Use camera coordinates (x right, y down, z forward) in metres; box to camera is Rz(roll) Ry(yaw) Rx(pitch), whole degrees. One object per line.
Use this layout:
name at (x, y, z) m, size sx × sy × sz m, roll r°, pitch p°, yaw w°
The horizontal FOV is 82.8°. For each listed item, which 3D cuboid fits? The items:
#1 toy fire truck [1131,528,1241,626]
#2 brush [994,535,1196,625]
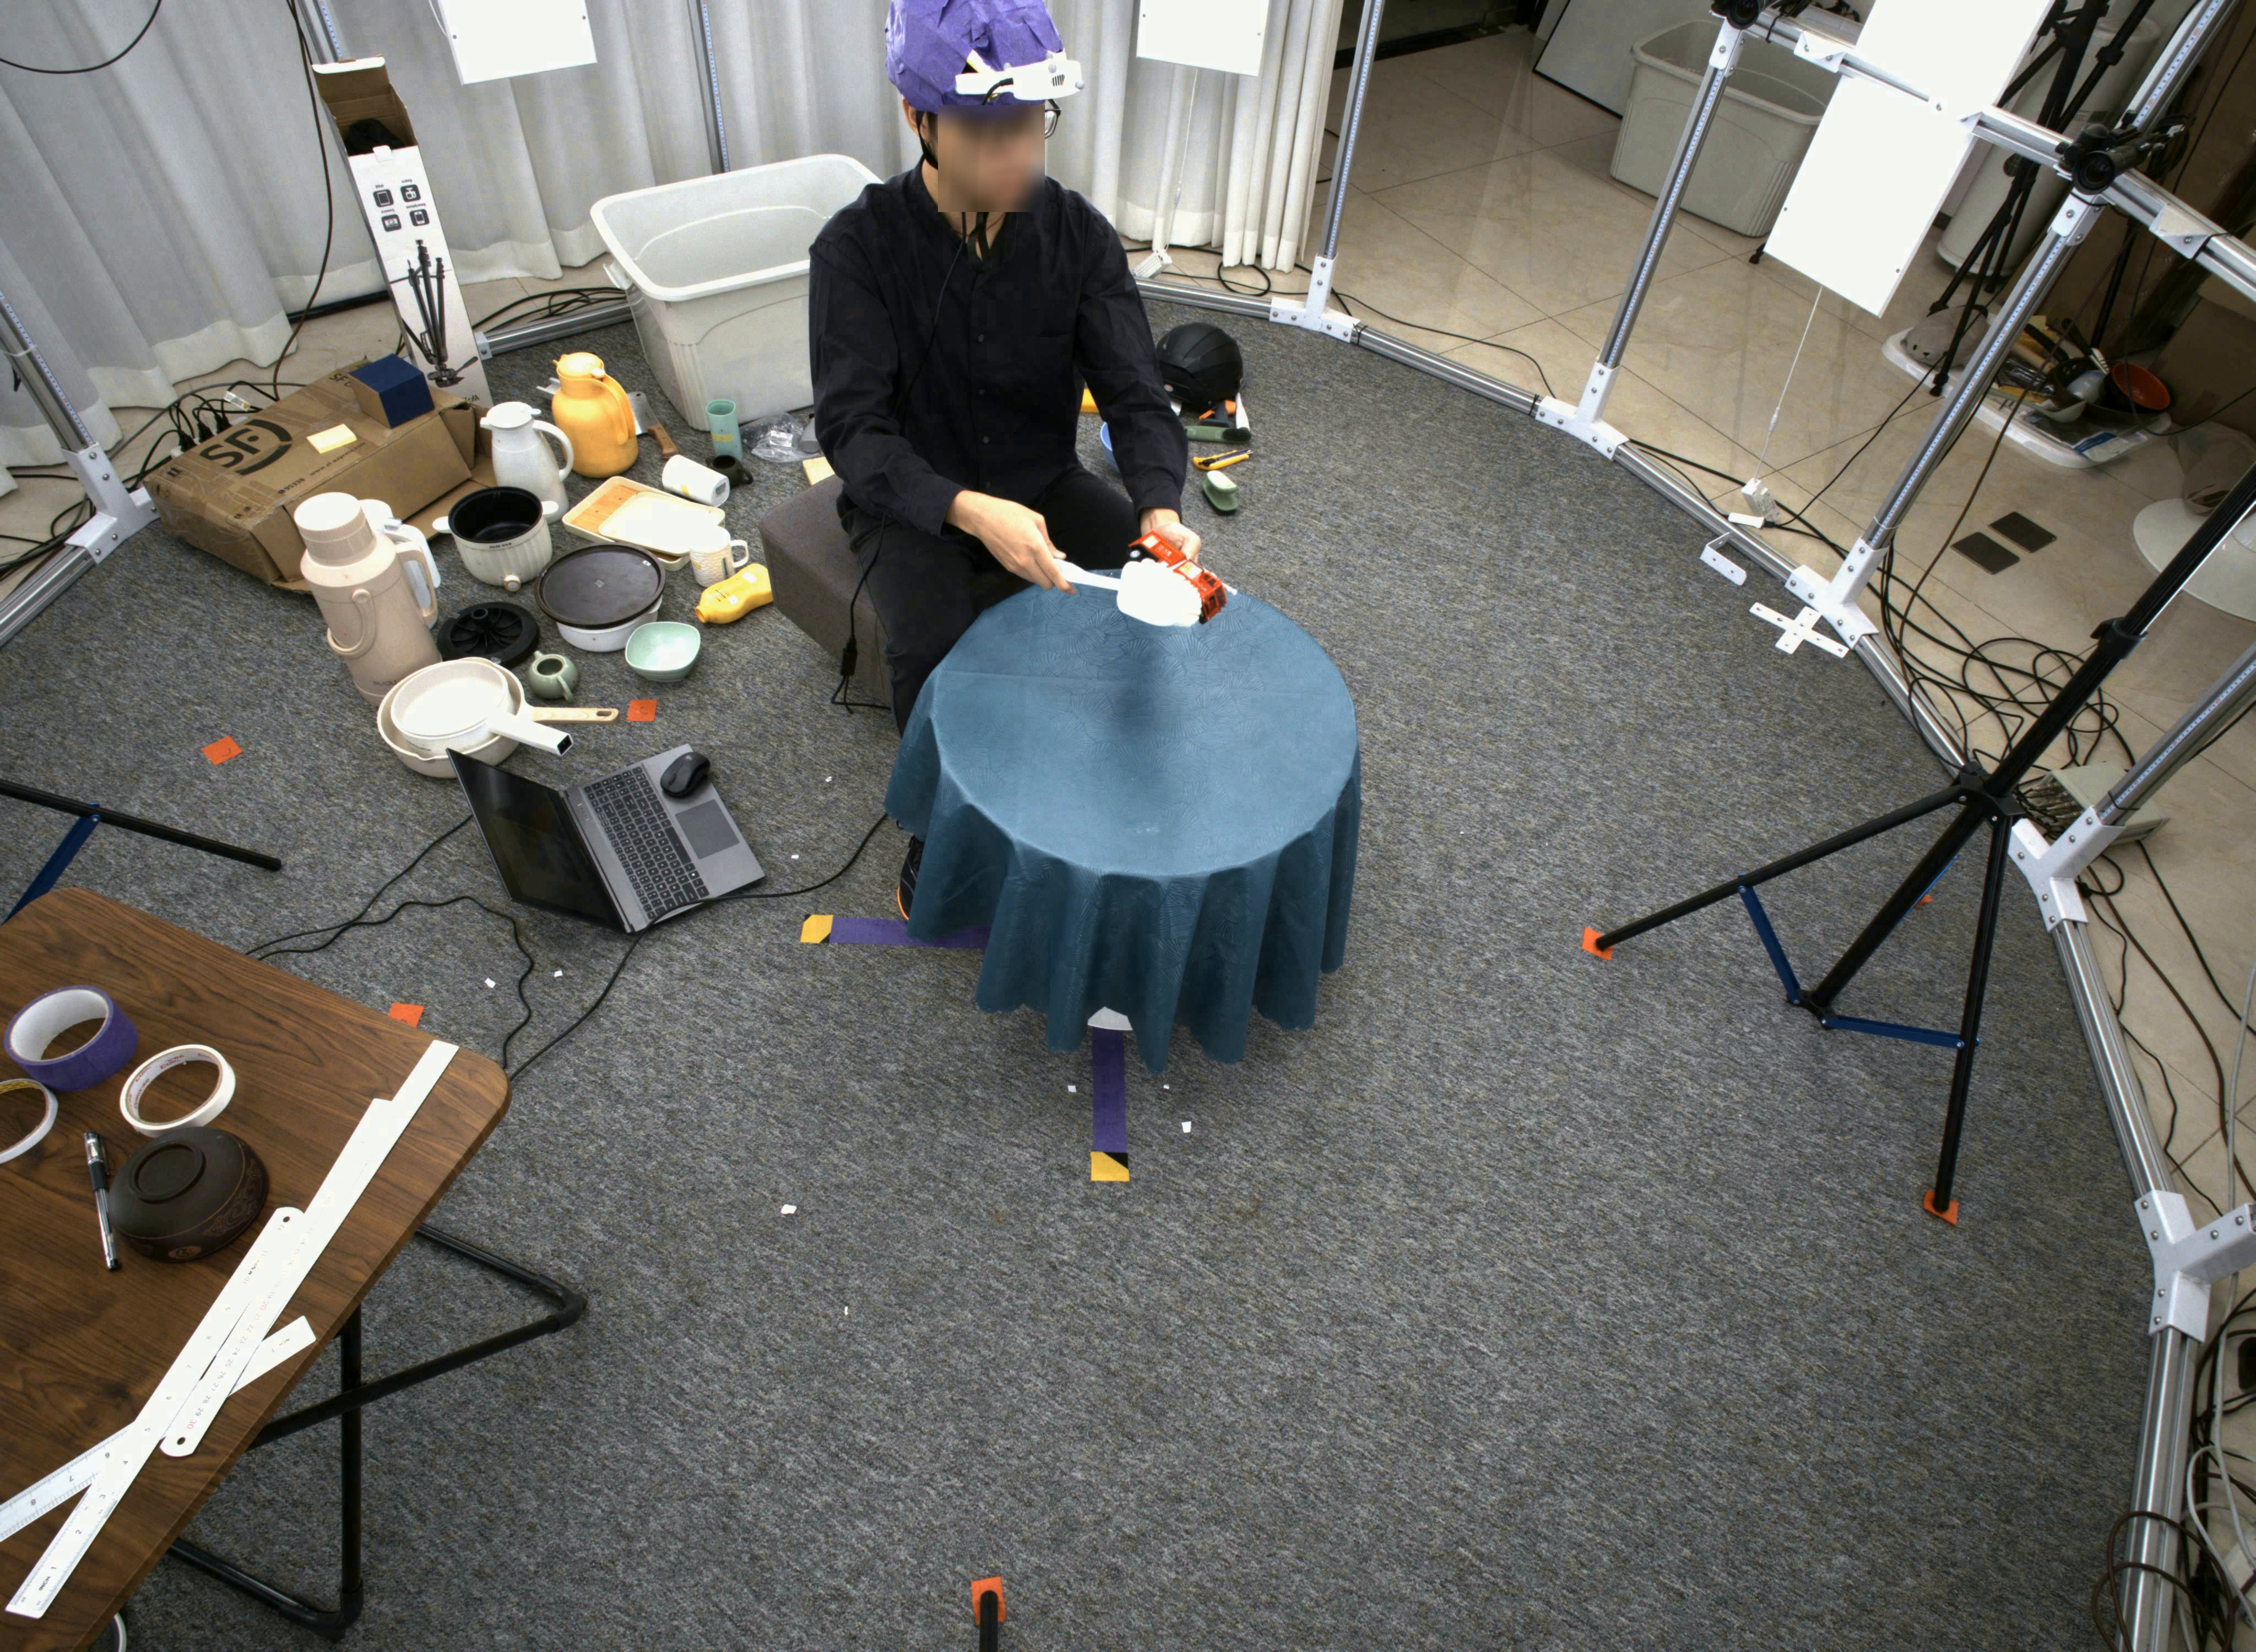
toy fire truck at (0.069, -0.326, 1.678) m, size 0.070 × 0.052 × 0.171 m, roll -37°, pitch 52°, yaw -12°
brush at (-0.038, -0.337, 1.700) m, size 0.329 × 0.083 × 0.083 m, roll 26°, pitch 79°, yaw 31°
